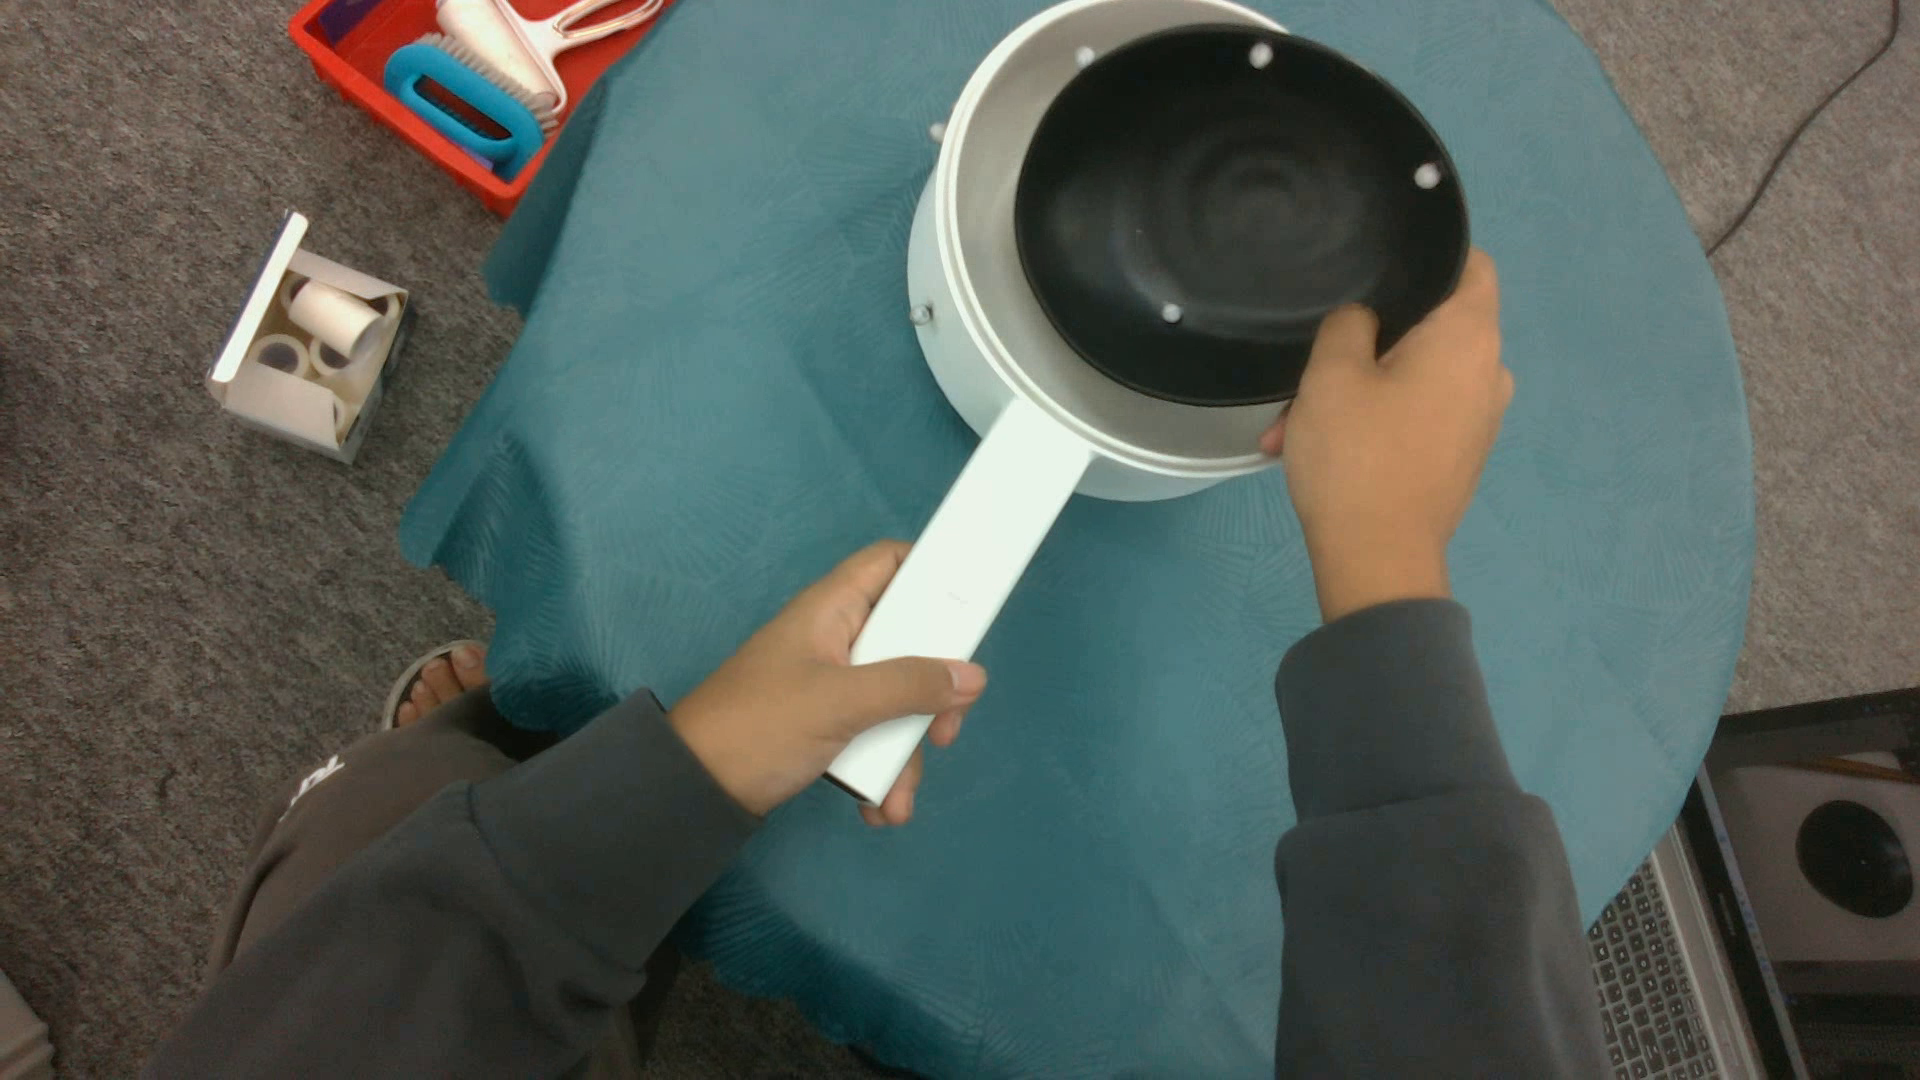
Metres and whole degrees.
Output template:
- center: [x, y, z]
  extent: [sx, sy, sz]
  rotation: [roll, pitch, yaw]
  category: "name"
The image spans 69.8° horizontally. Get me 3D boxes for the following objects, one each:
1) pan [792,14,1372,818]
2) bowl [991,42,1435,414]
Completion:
- center: [0.034, -0.049, 0.583]
  extent: [0.201, 0.102, 0.355]
  rotation: [32, 75, -8]
  category: "pan"
- center: [0.099, -0.124, 0.538]
  extent: [0.170, 0.067, 0.137]
  rotation: [8, 114, 24]
  category: "bowl"
